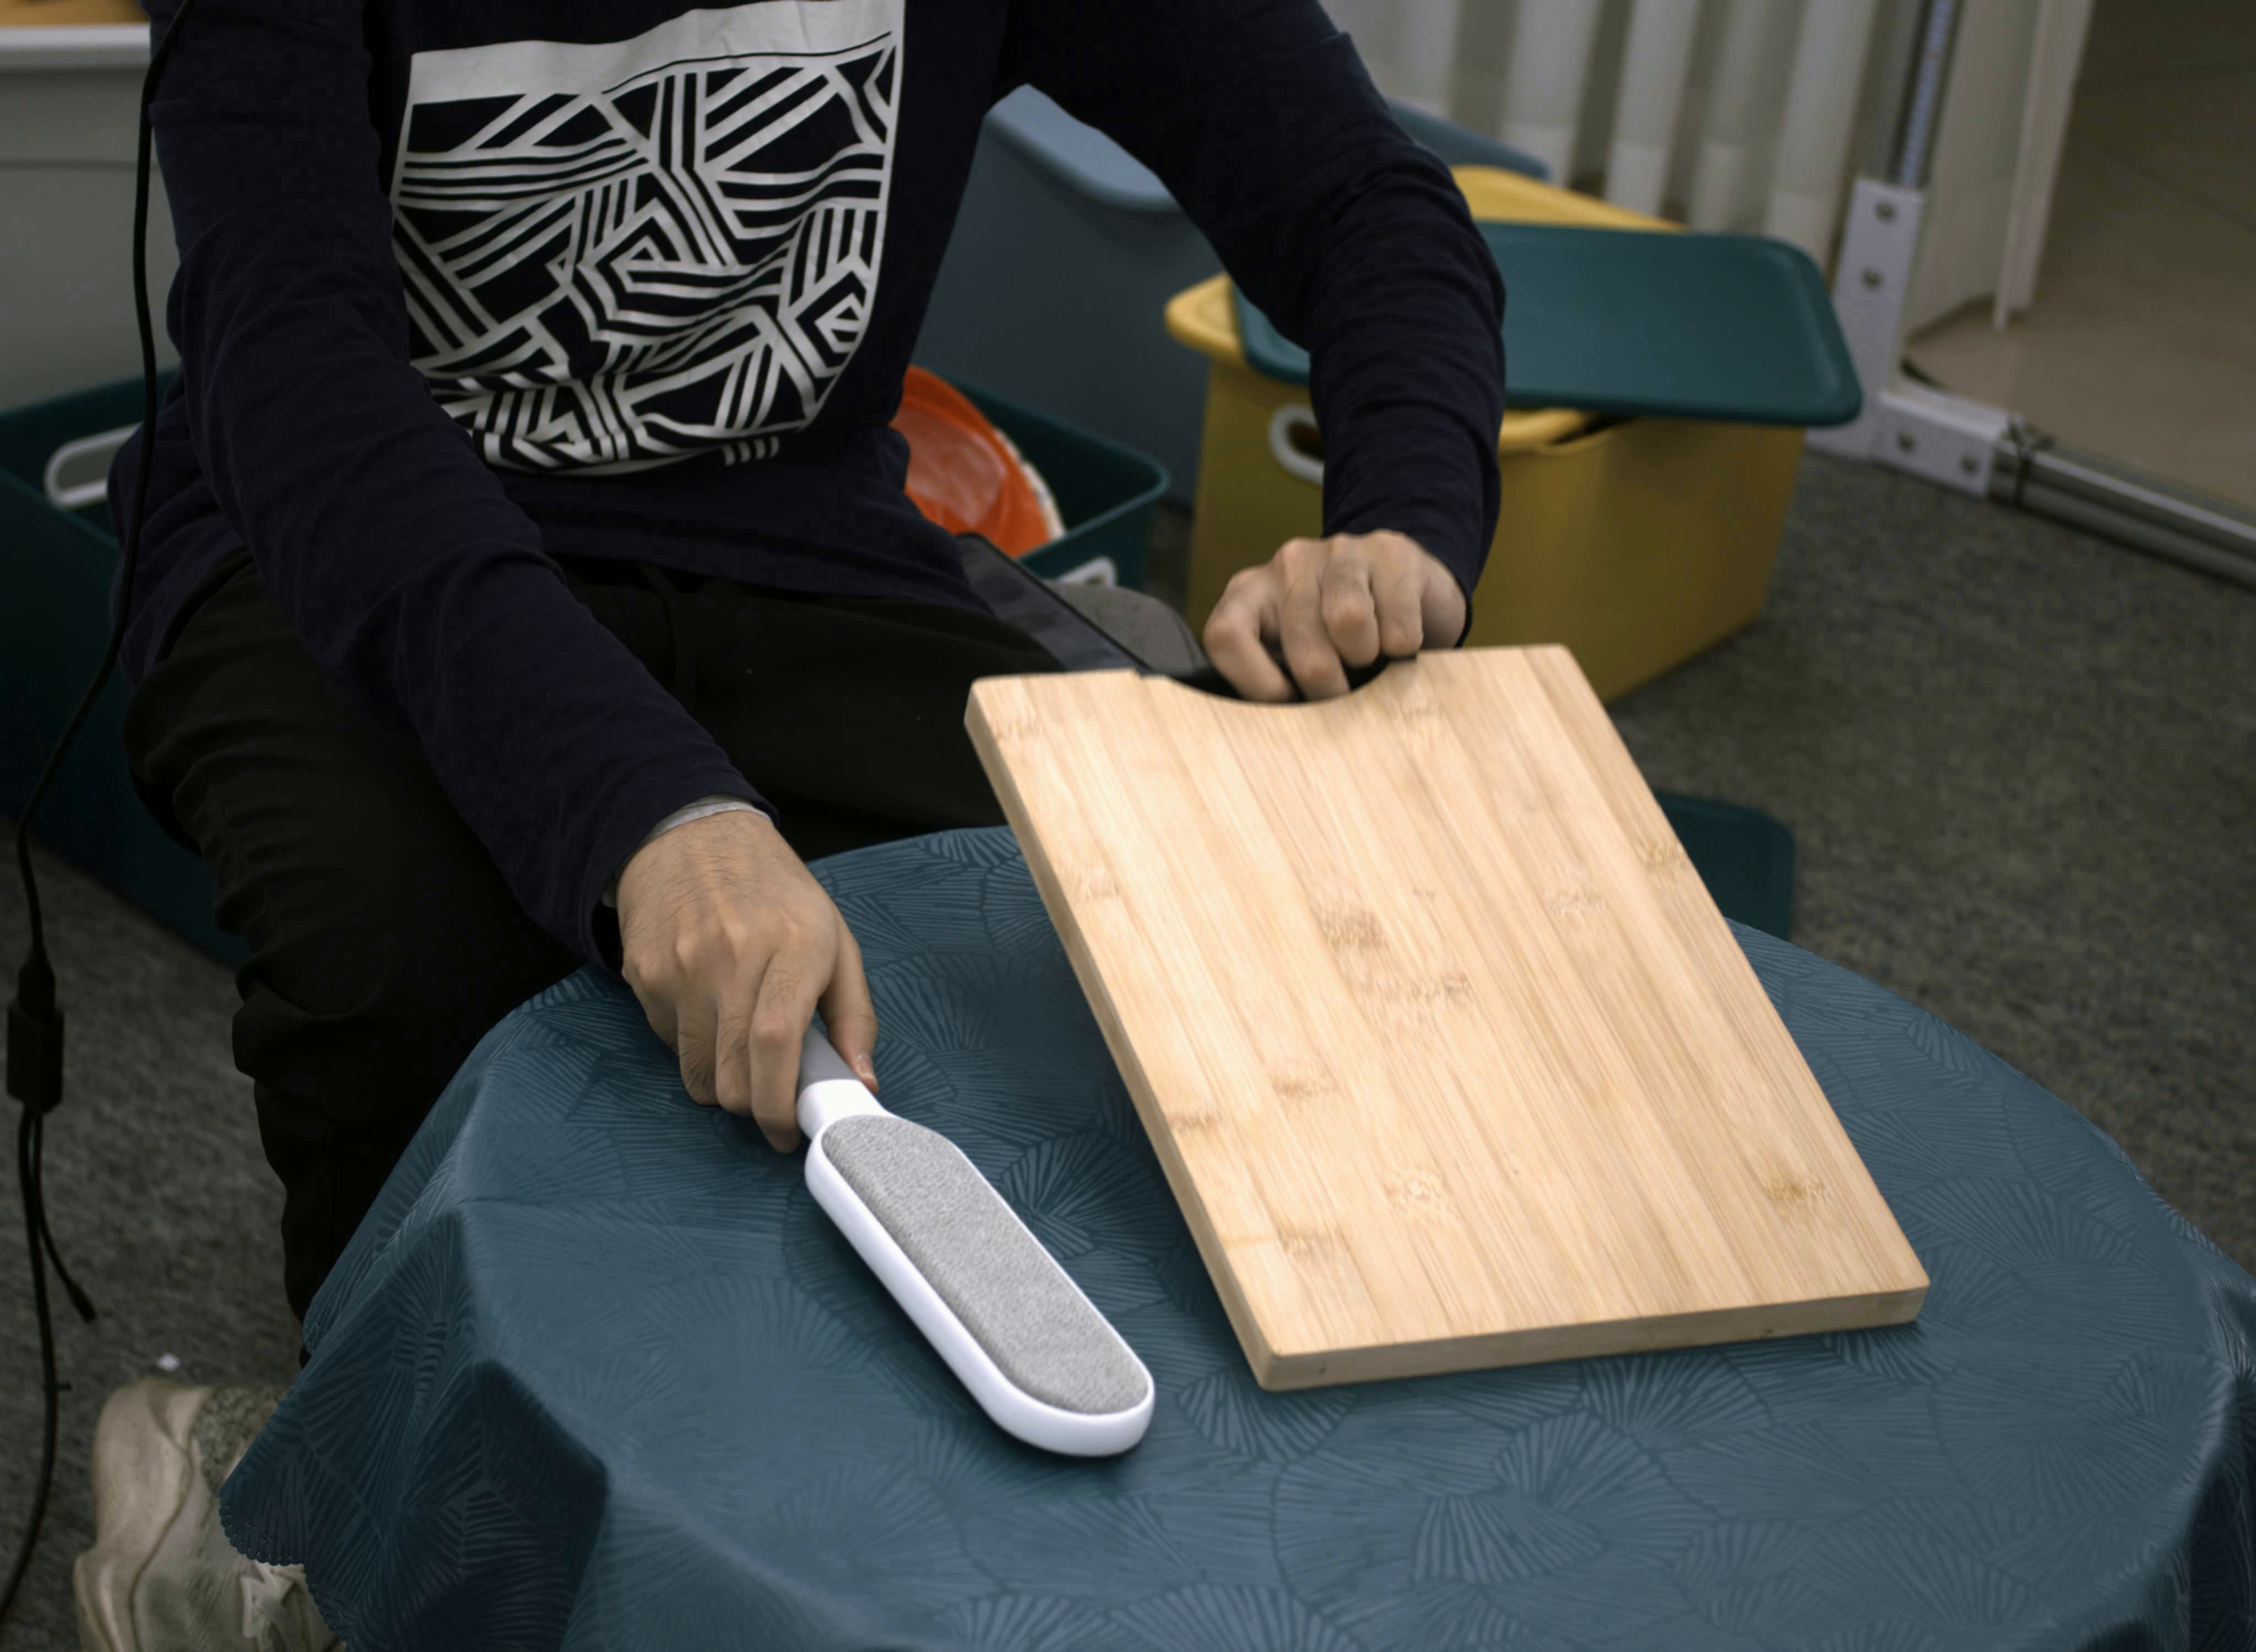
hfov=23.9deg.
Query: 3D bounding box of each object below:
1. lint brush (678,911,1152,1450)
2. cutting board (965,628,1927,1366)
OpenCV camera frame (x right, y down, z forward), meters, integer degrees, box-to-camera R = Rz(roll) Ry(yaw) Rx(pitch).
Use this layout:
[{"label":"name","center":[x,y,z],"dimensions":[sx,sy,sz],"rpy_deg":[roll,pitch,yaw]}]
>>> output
[{"label":"lint brush","center":[-0.078,0.112,1.761],"dimensions":[0.059,0.021,0.312],"rpy_deg":[-7,33,-29]},{"label":"cutting board","center":[0.103,0.052,1.861],"dimensions":[0.249,0.023,0.352],"rpy_deg":[-4,42,-21]}]
